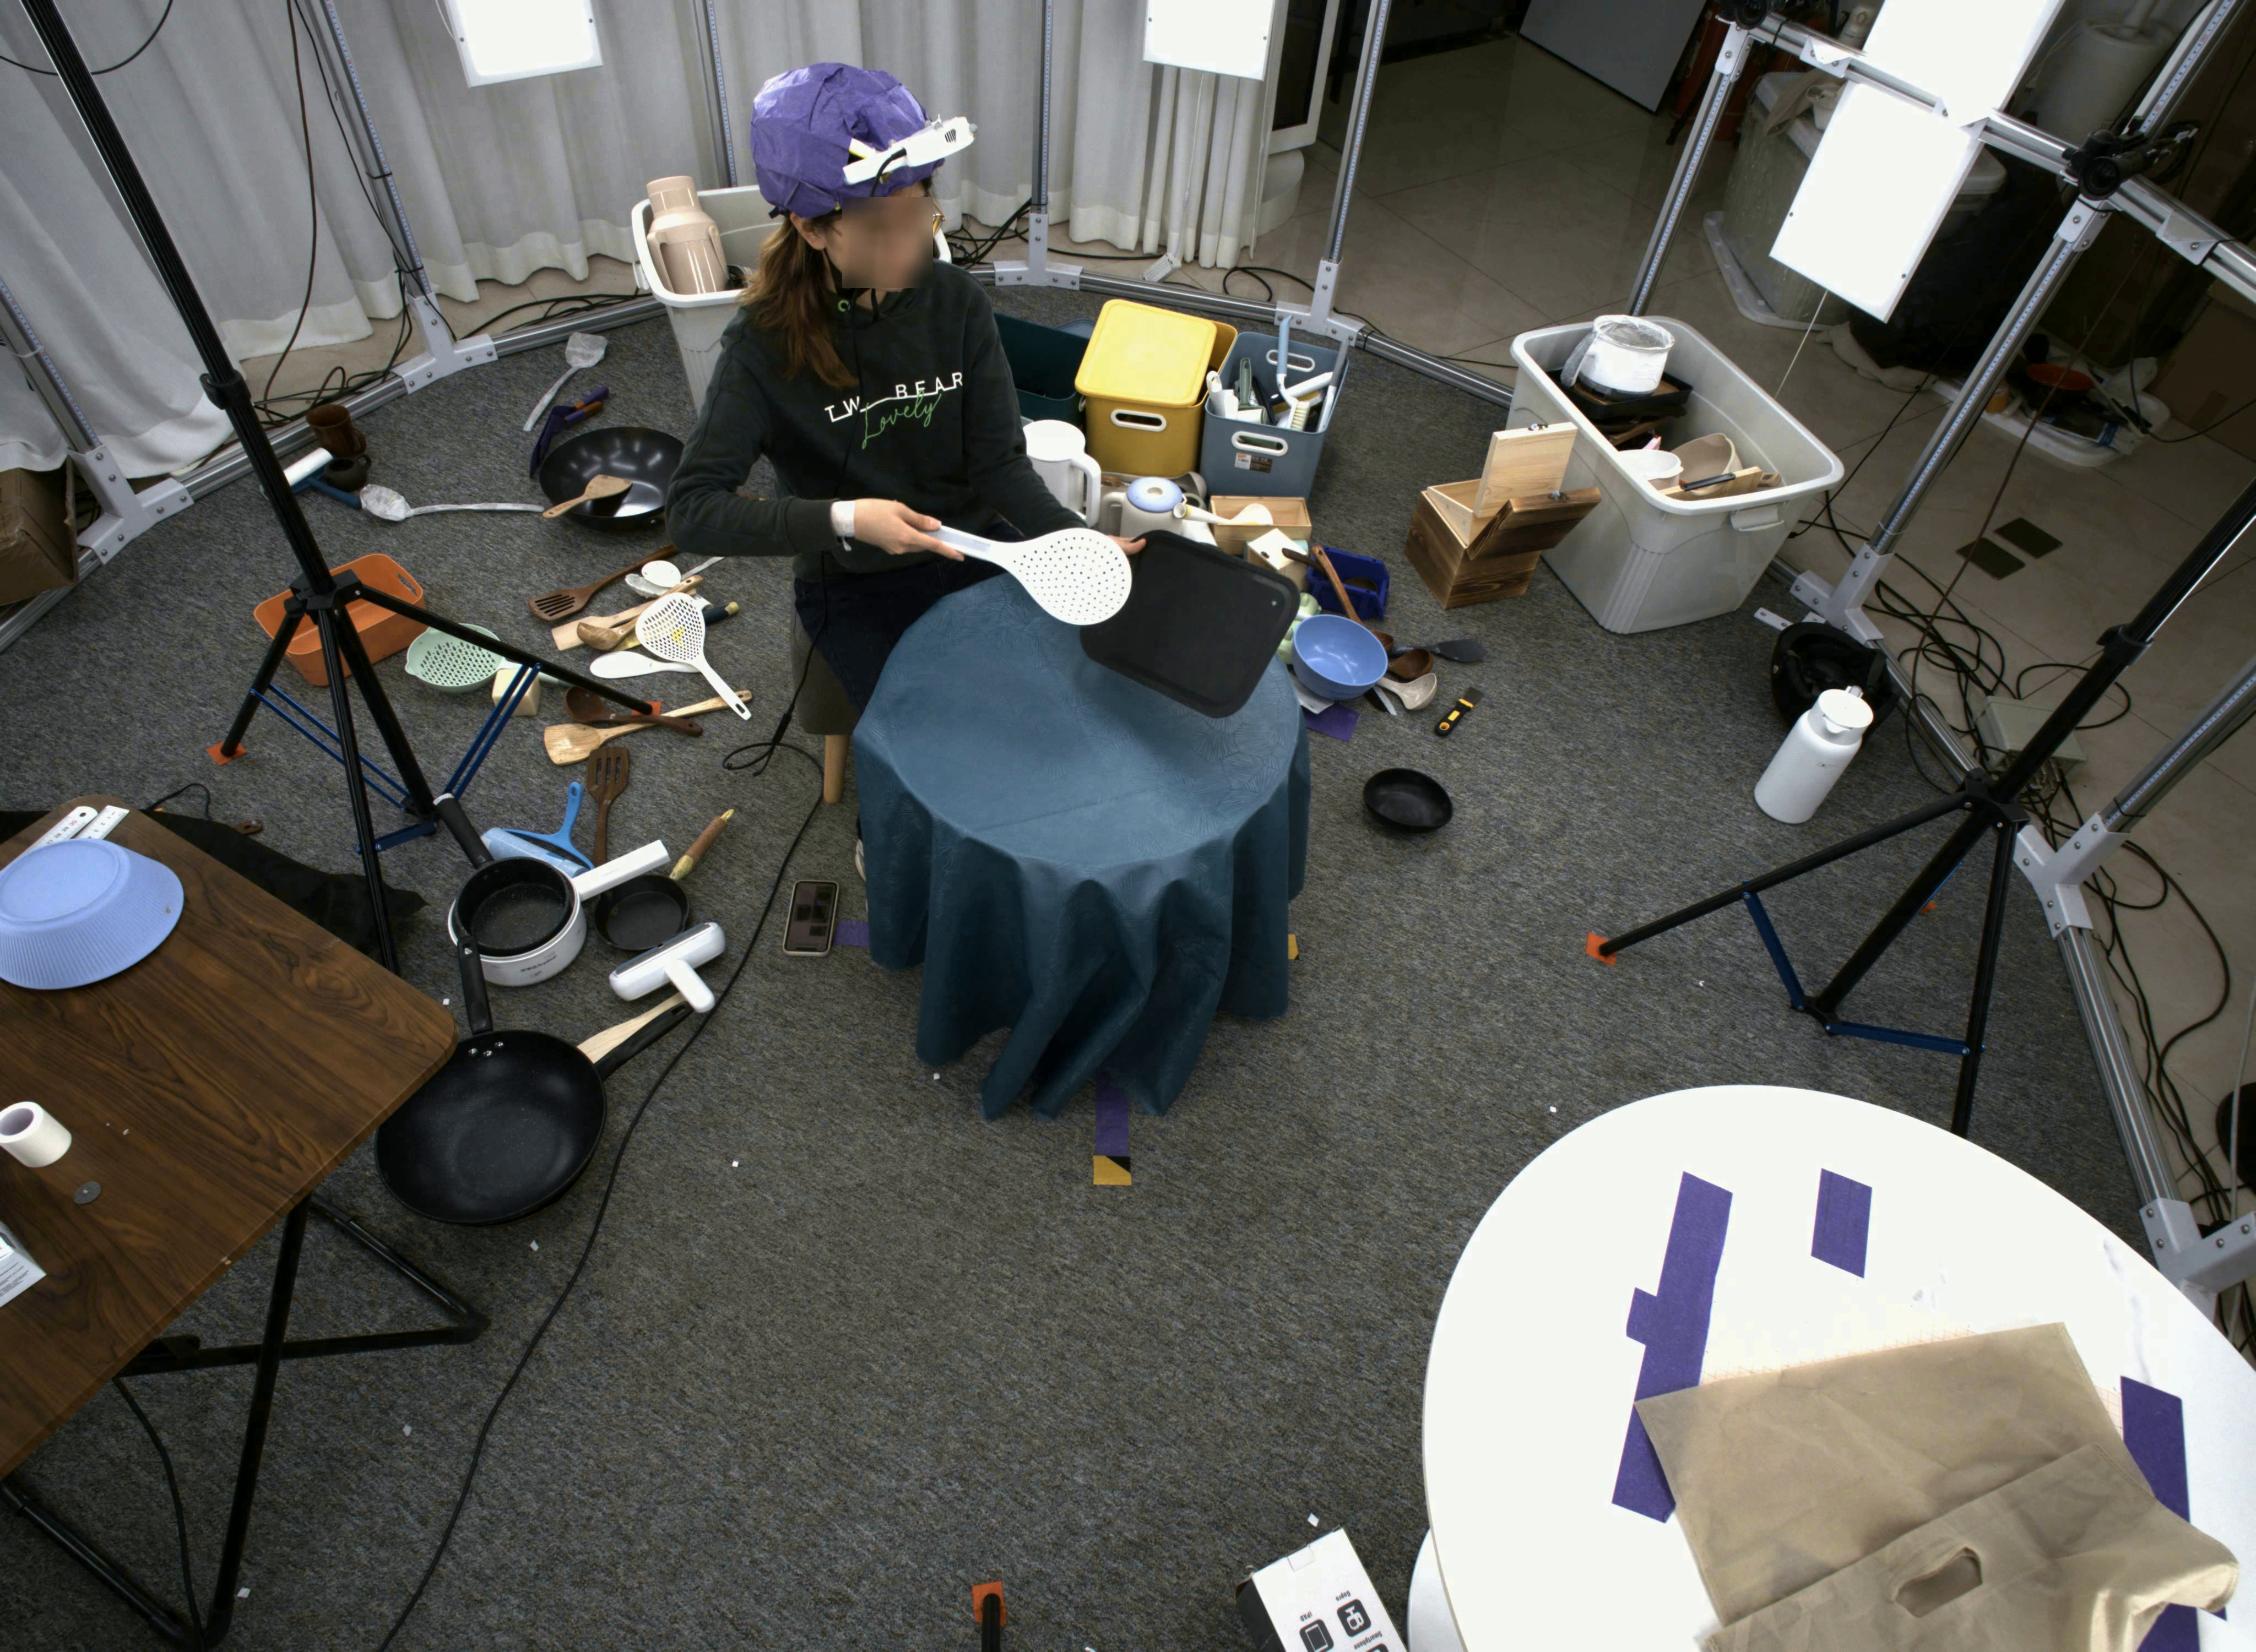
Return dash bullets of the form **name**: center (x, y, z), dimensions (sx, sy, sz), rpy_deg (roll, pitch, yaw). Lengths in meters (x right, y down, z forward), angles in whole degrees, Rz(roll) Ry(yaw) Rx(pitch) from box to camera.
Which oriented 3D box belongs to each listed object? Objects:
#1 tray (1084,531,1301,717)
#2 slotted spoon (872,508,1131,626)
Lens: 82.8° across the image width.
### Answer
- **tray**: center (0.074, -0.283, 1.754), dimensions (0.330, 0.009, 0.211), rpy_deg (30, 90, 37)
- **slotted spoon**: center (-0.168, -0.358, 1.717), dimensions (0.348, 0.045, 0.138), rpy_deg (17, 72, -7)
